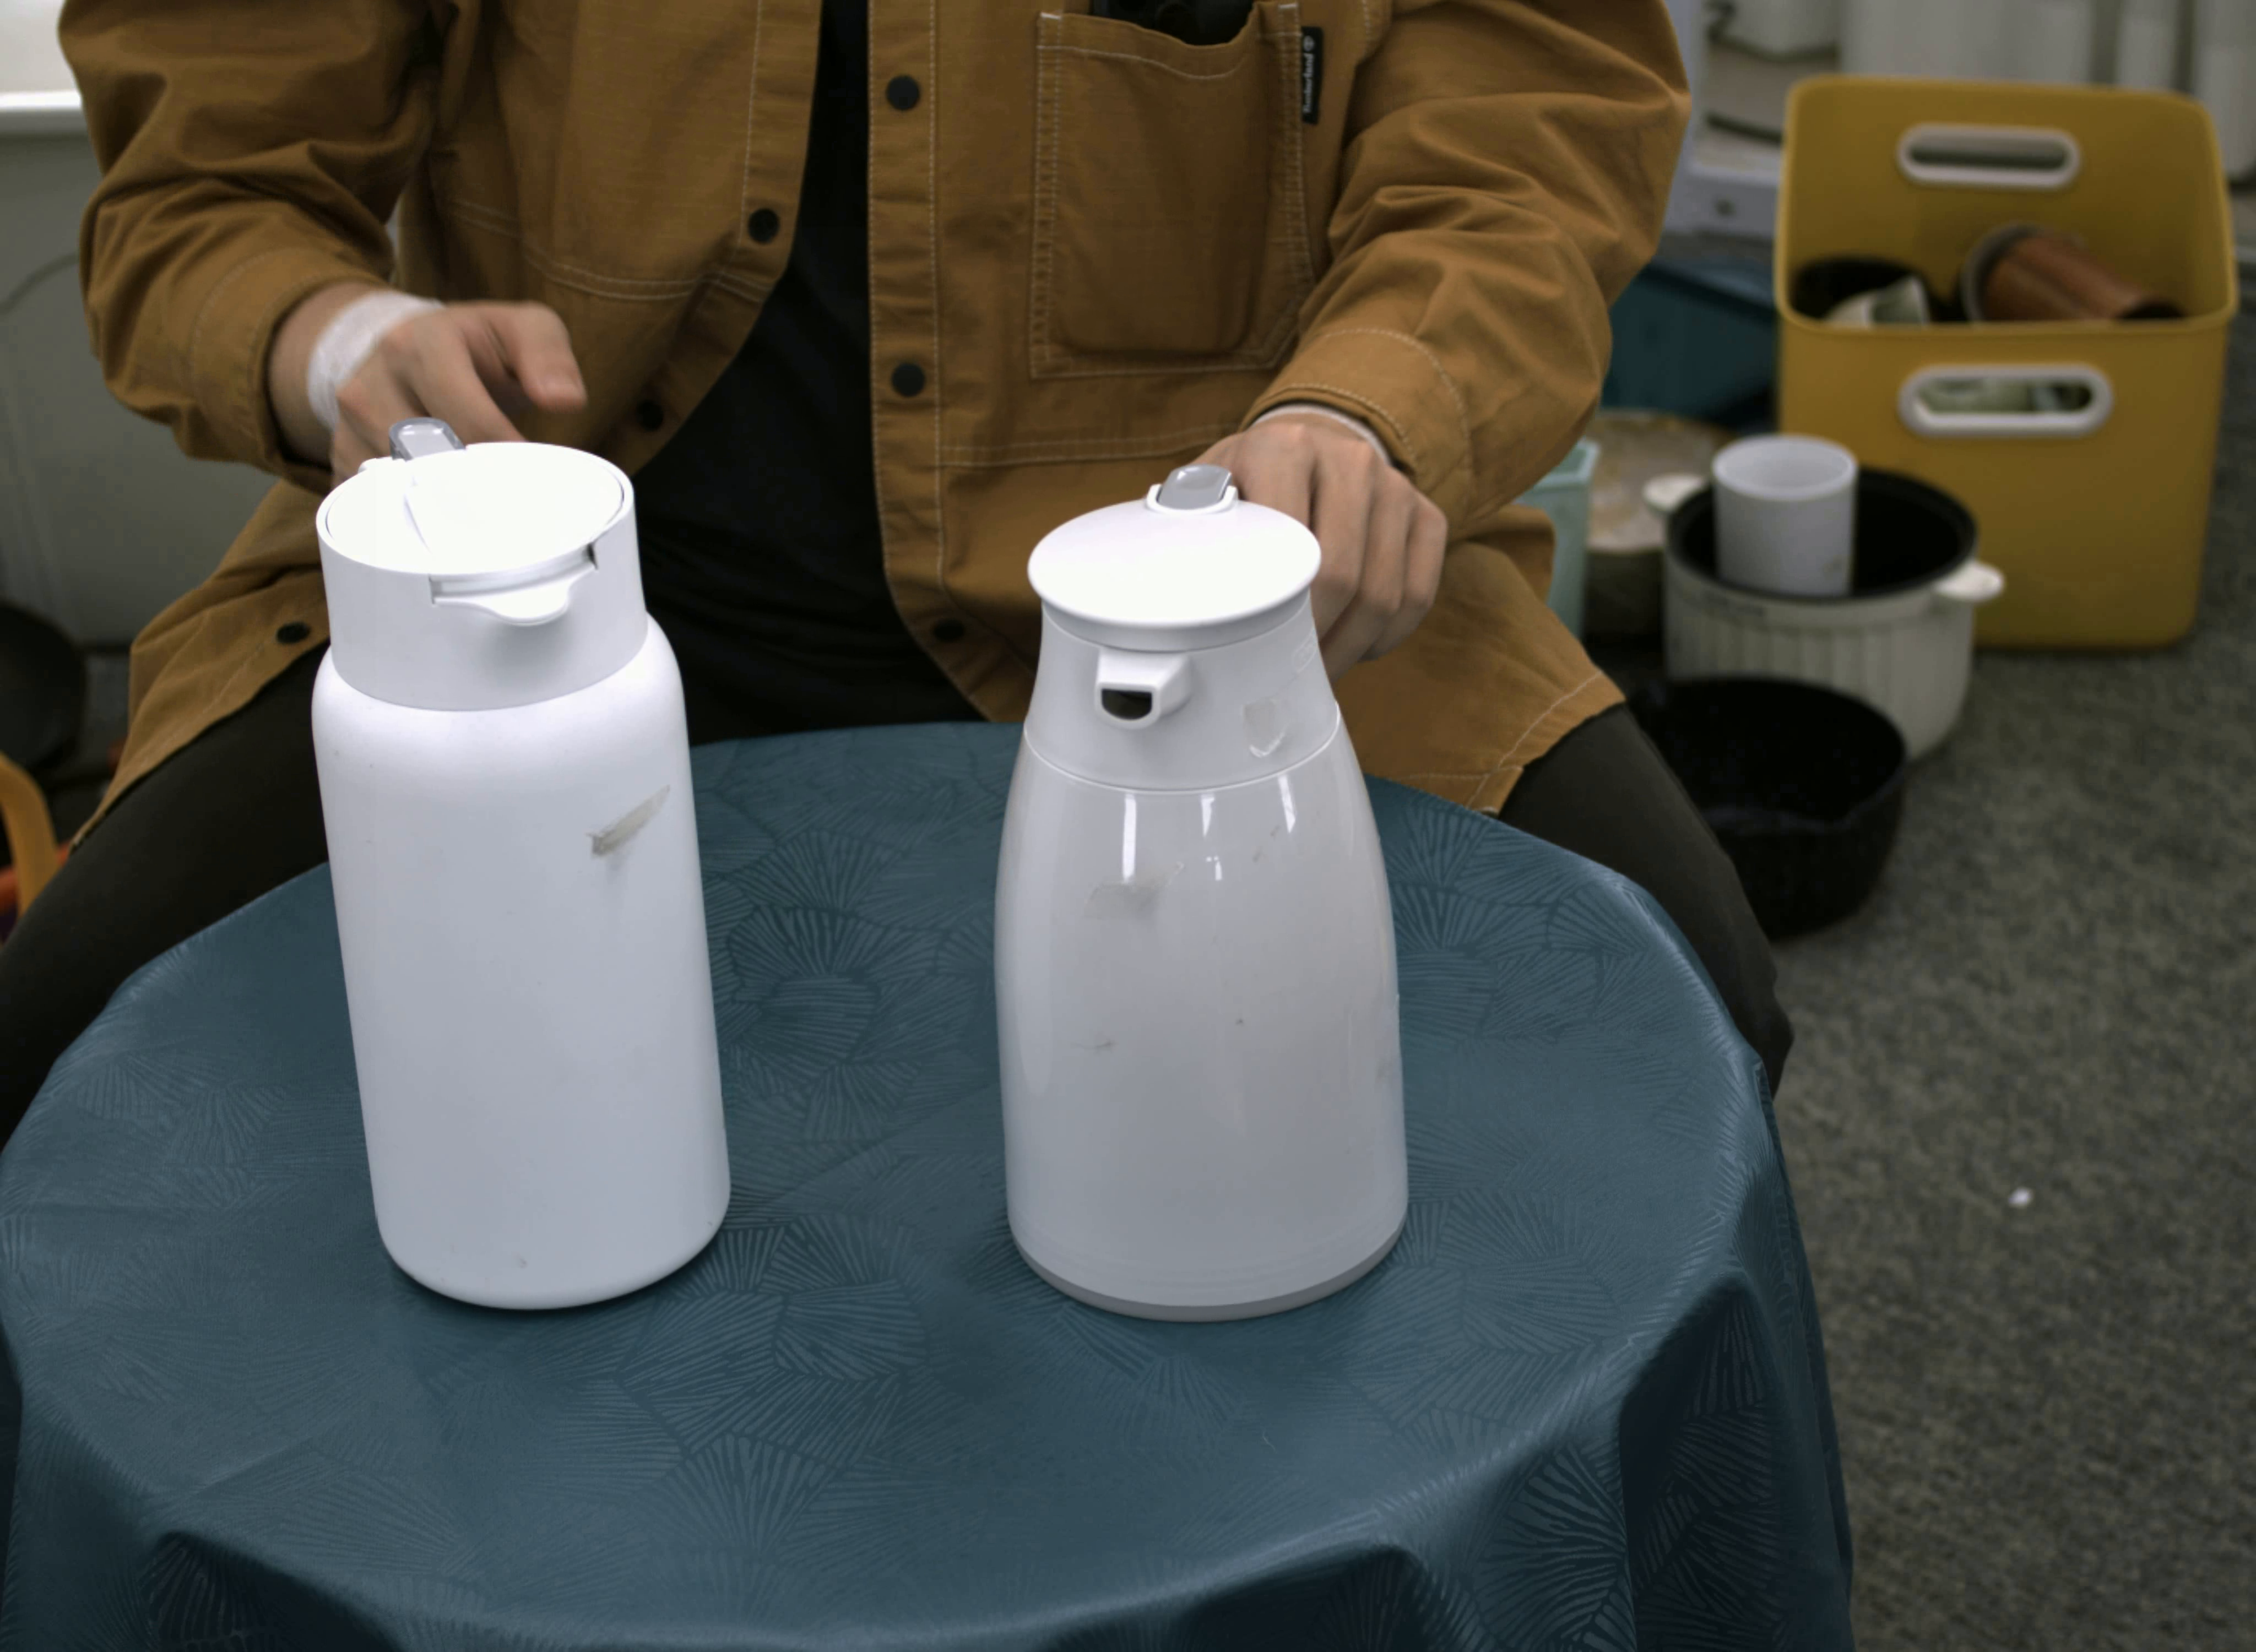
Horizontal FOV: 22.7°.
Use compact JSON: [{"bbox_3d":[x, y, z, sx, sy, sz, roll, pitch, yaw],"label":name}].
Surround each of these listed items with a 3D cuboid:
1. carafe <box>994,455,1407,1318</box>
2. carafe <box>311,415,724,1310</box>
[{"bbox_3d":[0.024,0.009,1.807,0.131,0.246,0.170,4,27,13],"label":"carafe"},{"bbox_3d":[-0.204,0.008,1.811,0.124,0.266,0.174,-15,28,-18],"label":"carafe"}]
